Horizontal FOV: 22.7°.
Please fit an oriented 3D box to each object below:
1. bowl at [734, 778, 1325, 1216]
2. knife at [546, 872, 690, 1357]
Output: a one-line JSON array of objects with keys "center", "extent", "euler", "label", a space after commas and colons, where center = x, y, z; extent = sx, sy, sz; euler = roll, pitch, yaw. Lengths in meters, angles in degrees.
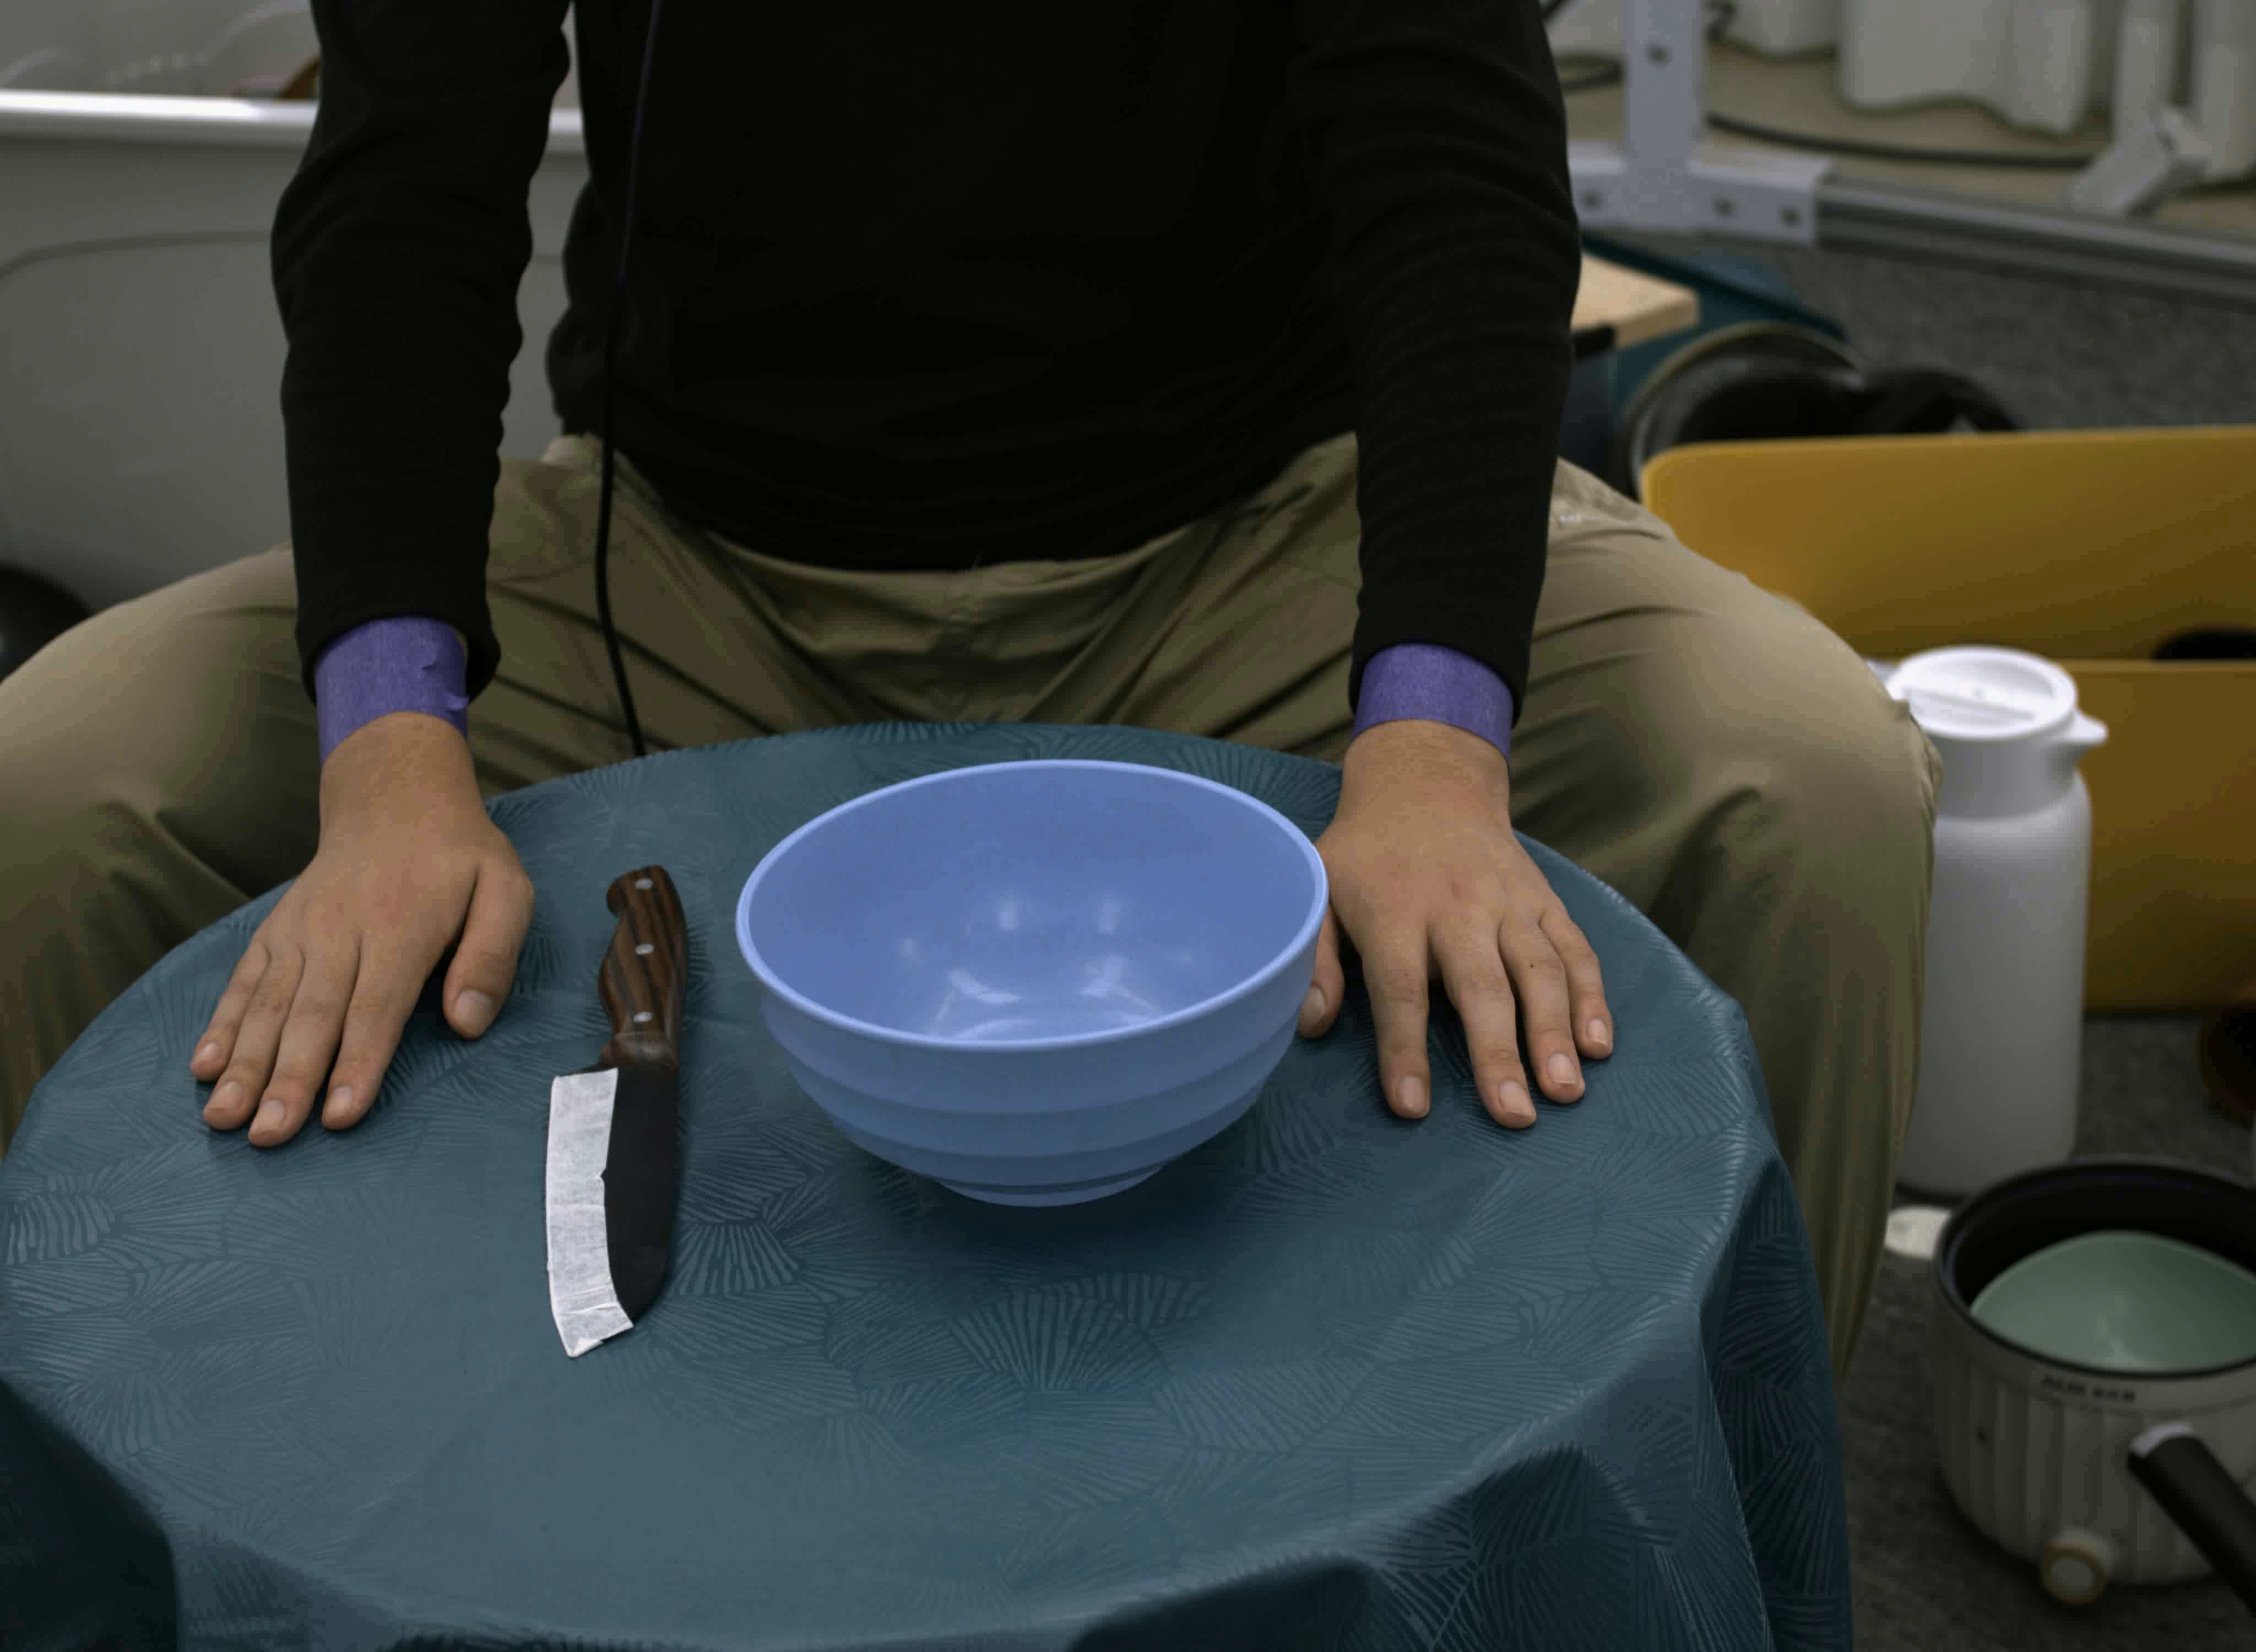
[{"center": [-0.030, 0.066, 1.873], "extent": [0.195, 0.094, 0.199], "euler": [-3, 25, 2], "label": "bowl"}, {"center": [-0.172, 0.096, 1.909], "extent": [0.050, 0.020, 0.294], "euler": [-6, 30, 3], "label": "knife"}]
